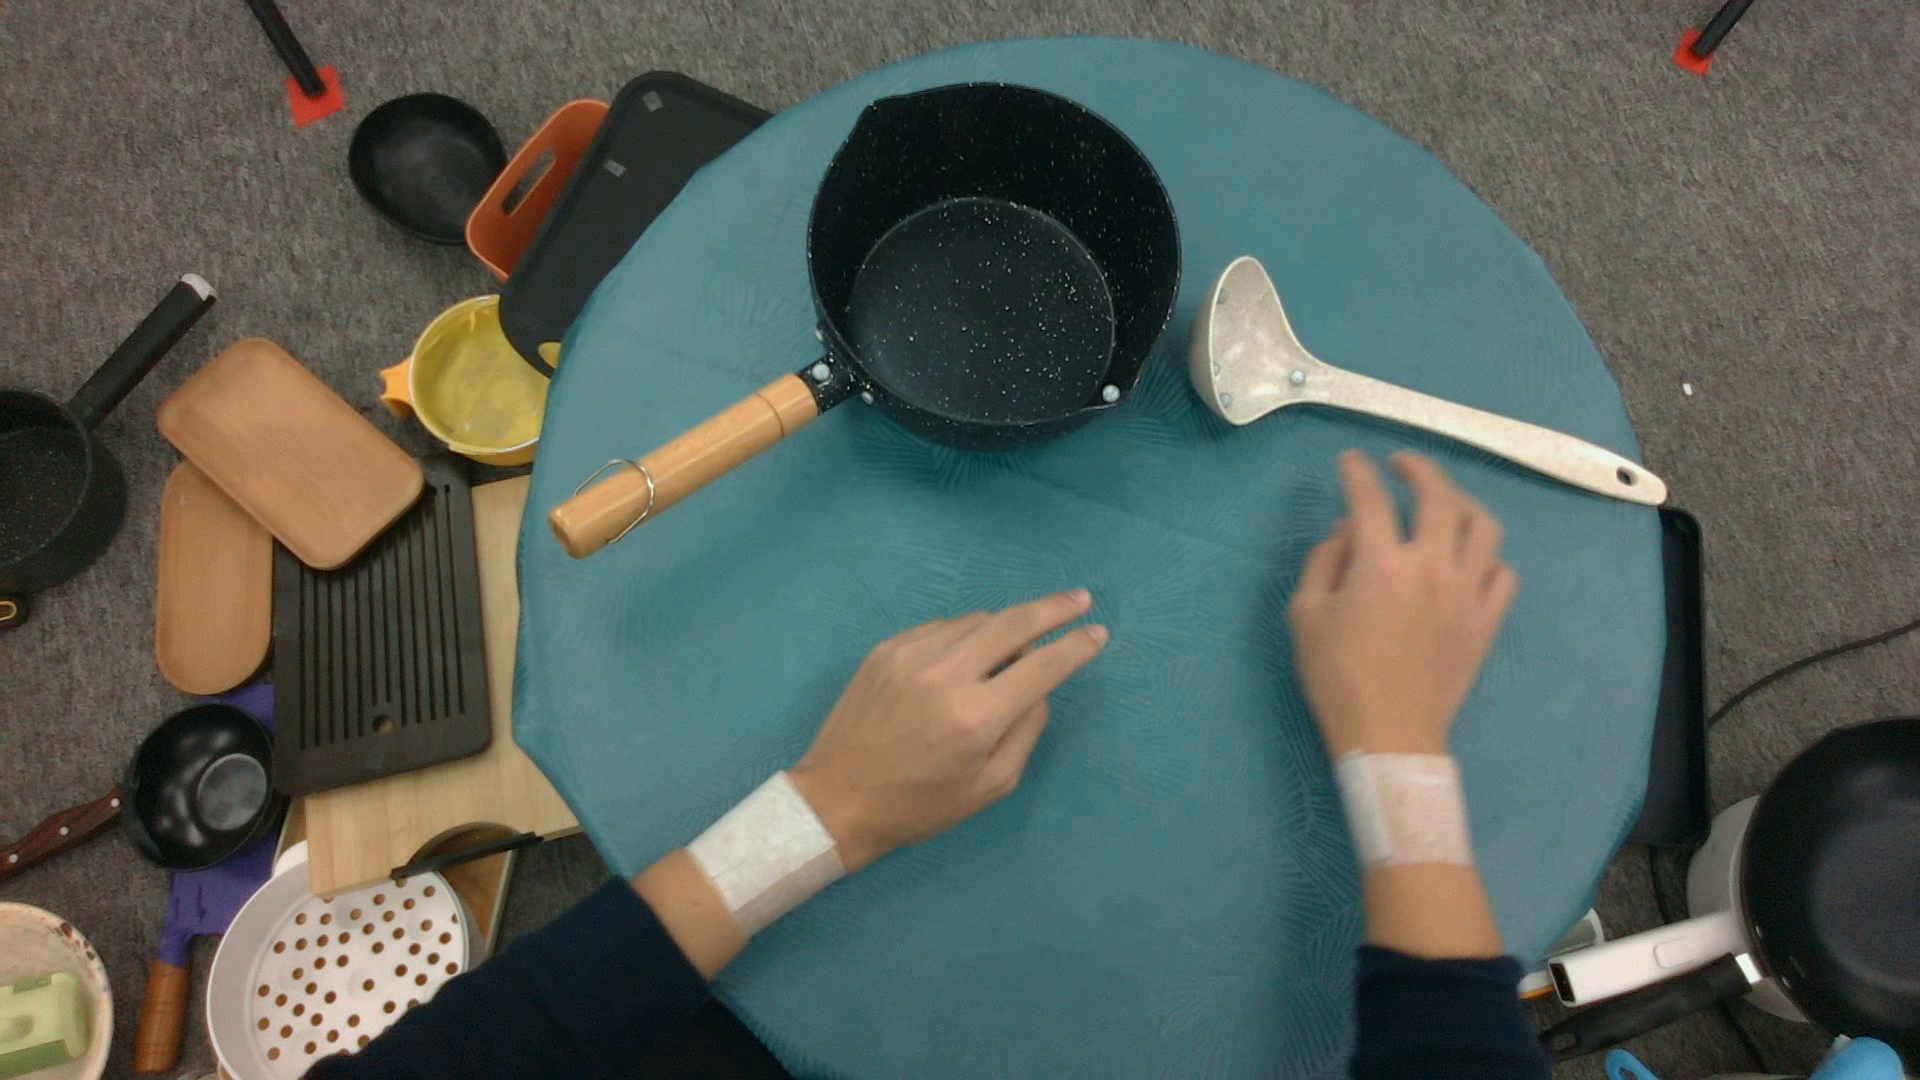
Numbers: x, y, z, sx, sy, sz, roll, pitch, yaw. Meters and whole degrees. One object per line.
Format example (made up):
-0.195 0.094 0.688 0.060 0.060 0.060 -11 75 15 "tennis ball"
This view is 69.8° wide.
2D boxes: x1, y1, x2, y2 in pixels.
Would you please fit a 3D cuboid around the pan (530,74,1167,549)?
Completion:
-0.053 -0.090 0.679 0.343 0.108 0.207 -38 81 -15 "pan"

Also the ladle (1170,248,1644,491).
0.243 -0.080 0.721 0.275 0.069 0.089 15 66 0 "ladle"
